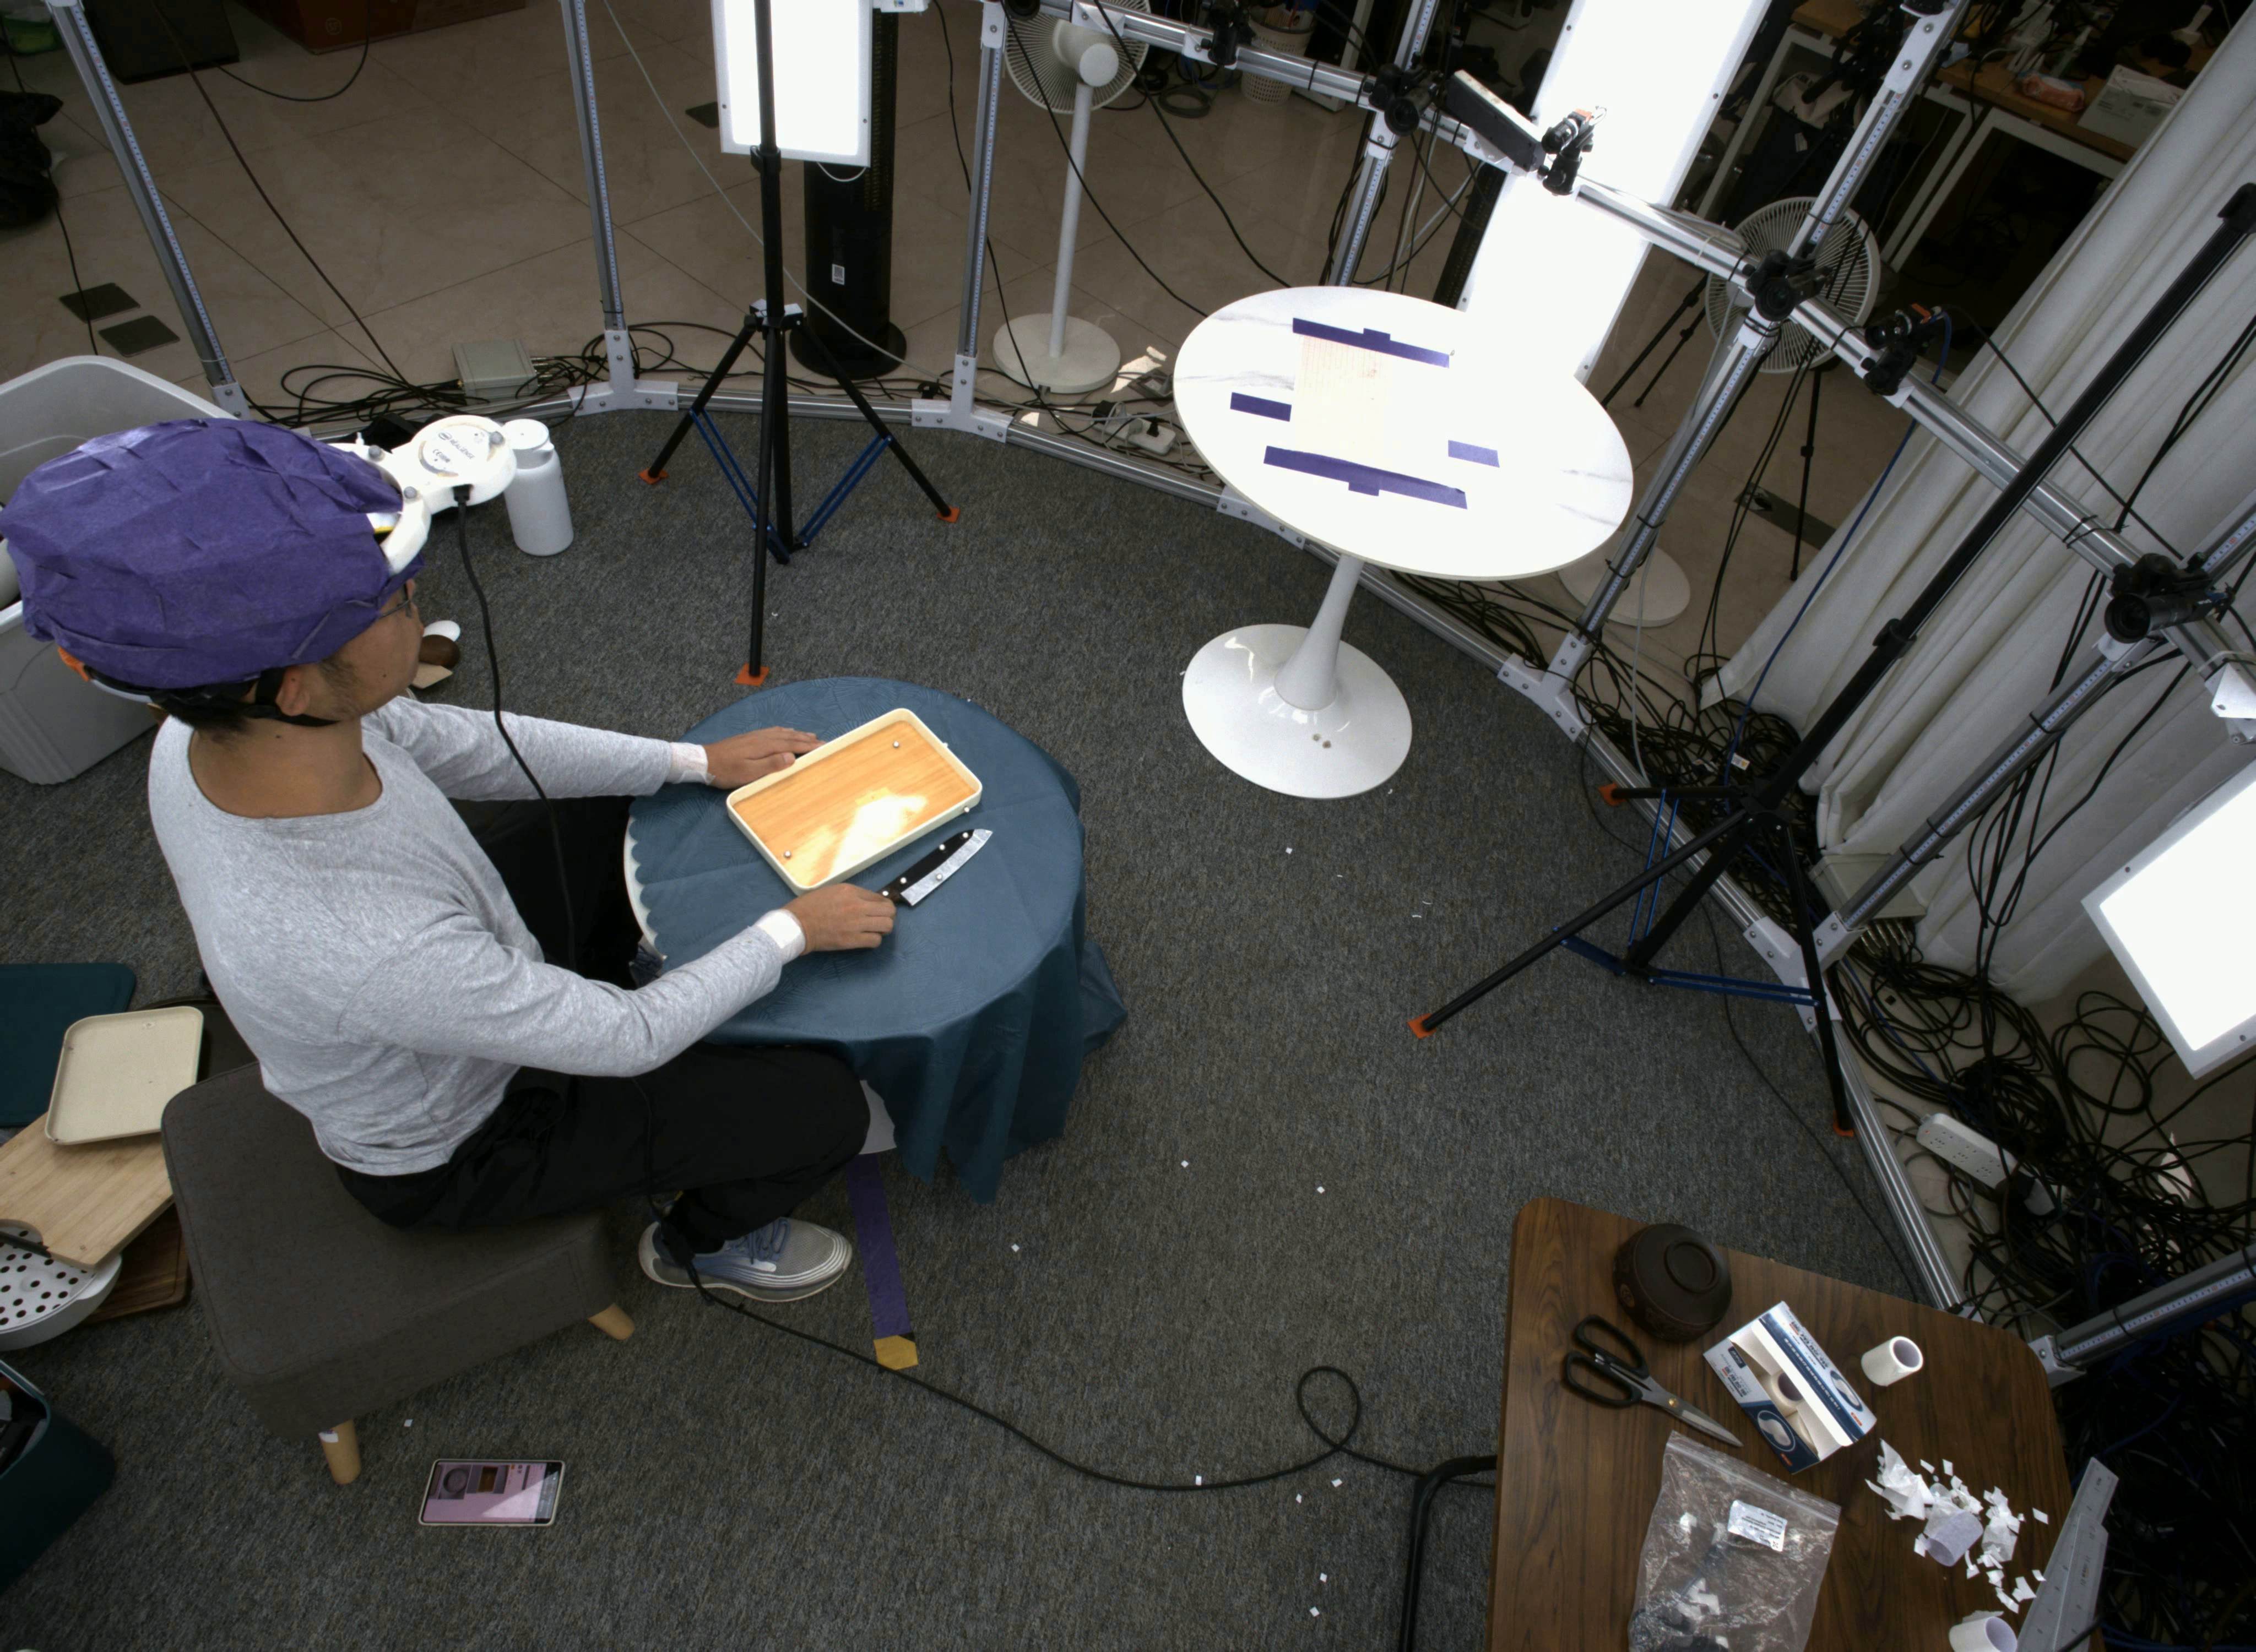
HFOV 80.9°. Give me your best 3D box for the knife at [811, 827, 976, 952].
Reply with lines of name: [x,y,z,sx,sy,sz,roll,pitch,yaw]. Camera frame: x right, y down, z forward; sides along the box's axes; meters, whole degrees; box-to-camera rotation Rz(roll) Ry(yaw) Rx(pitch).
knife: [-0.300,0.076,1.699,0.049,0.020,0.289,42,52,11]

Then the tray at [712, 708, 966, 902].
tray: [-0.386,-0.035,1.754,0.301,0.028,0.187,-34,68,-32]
